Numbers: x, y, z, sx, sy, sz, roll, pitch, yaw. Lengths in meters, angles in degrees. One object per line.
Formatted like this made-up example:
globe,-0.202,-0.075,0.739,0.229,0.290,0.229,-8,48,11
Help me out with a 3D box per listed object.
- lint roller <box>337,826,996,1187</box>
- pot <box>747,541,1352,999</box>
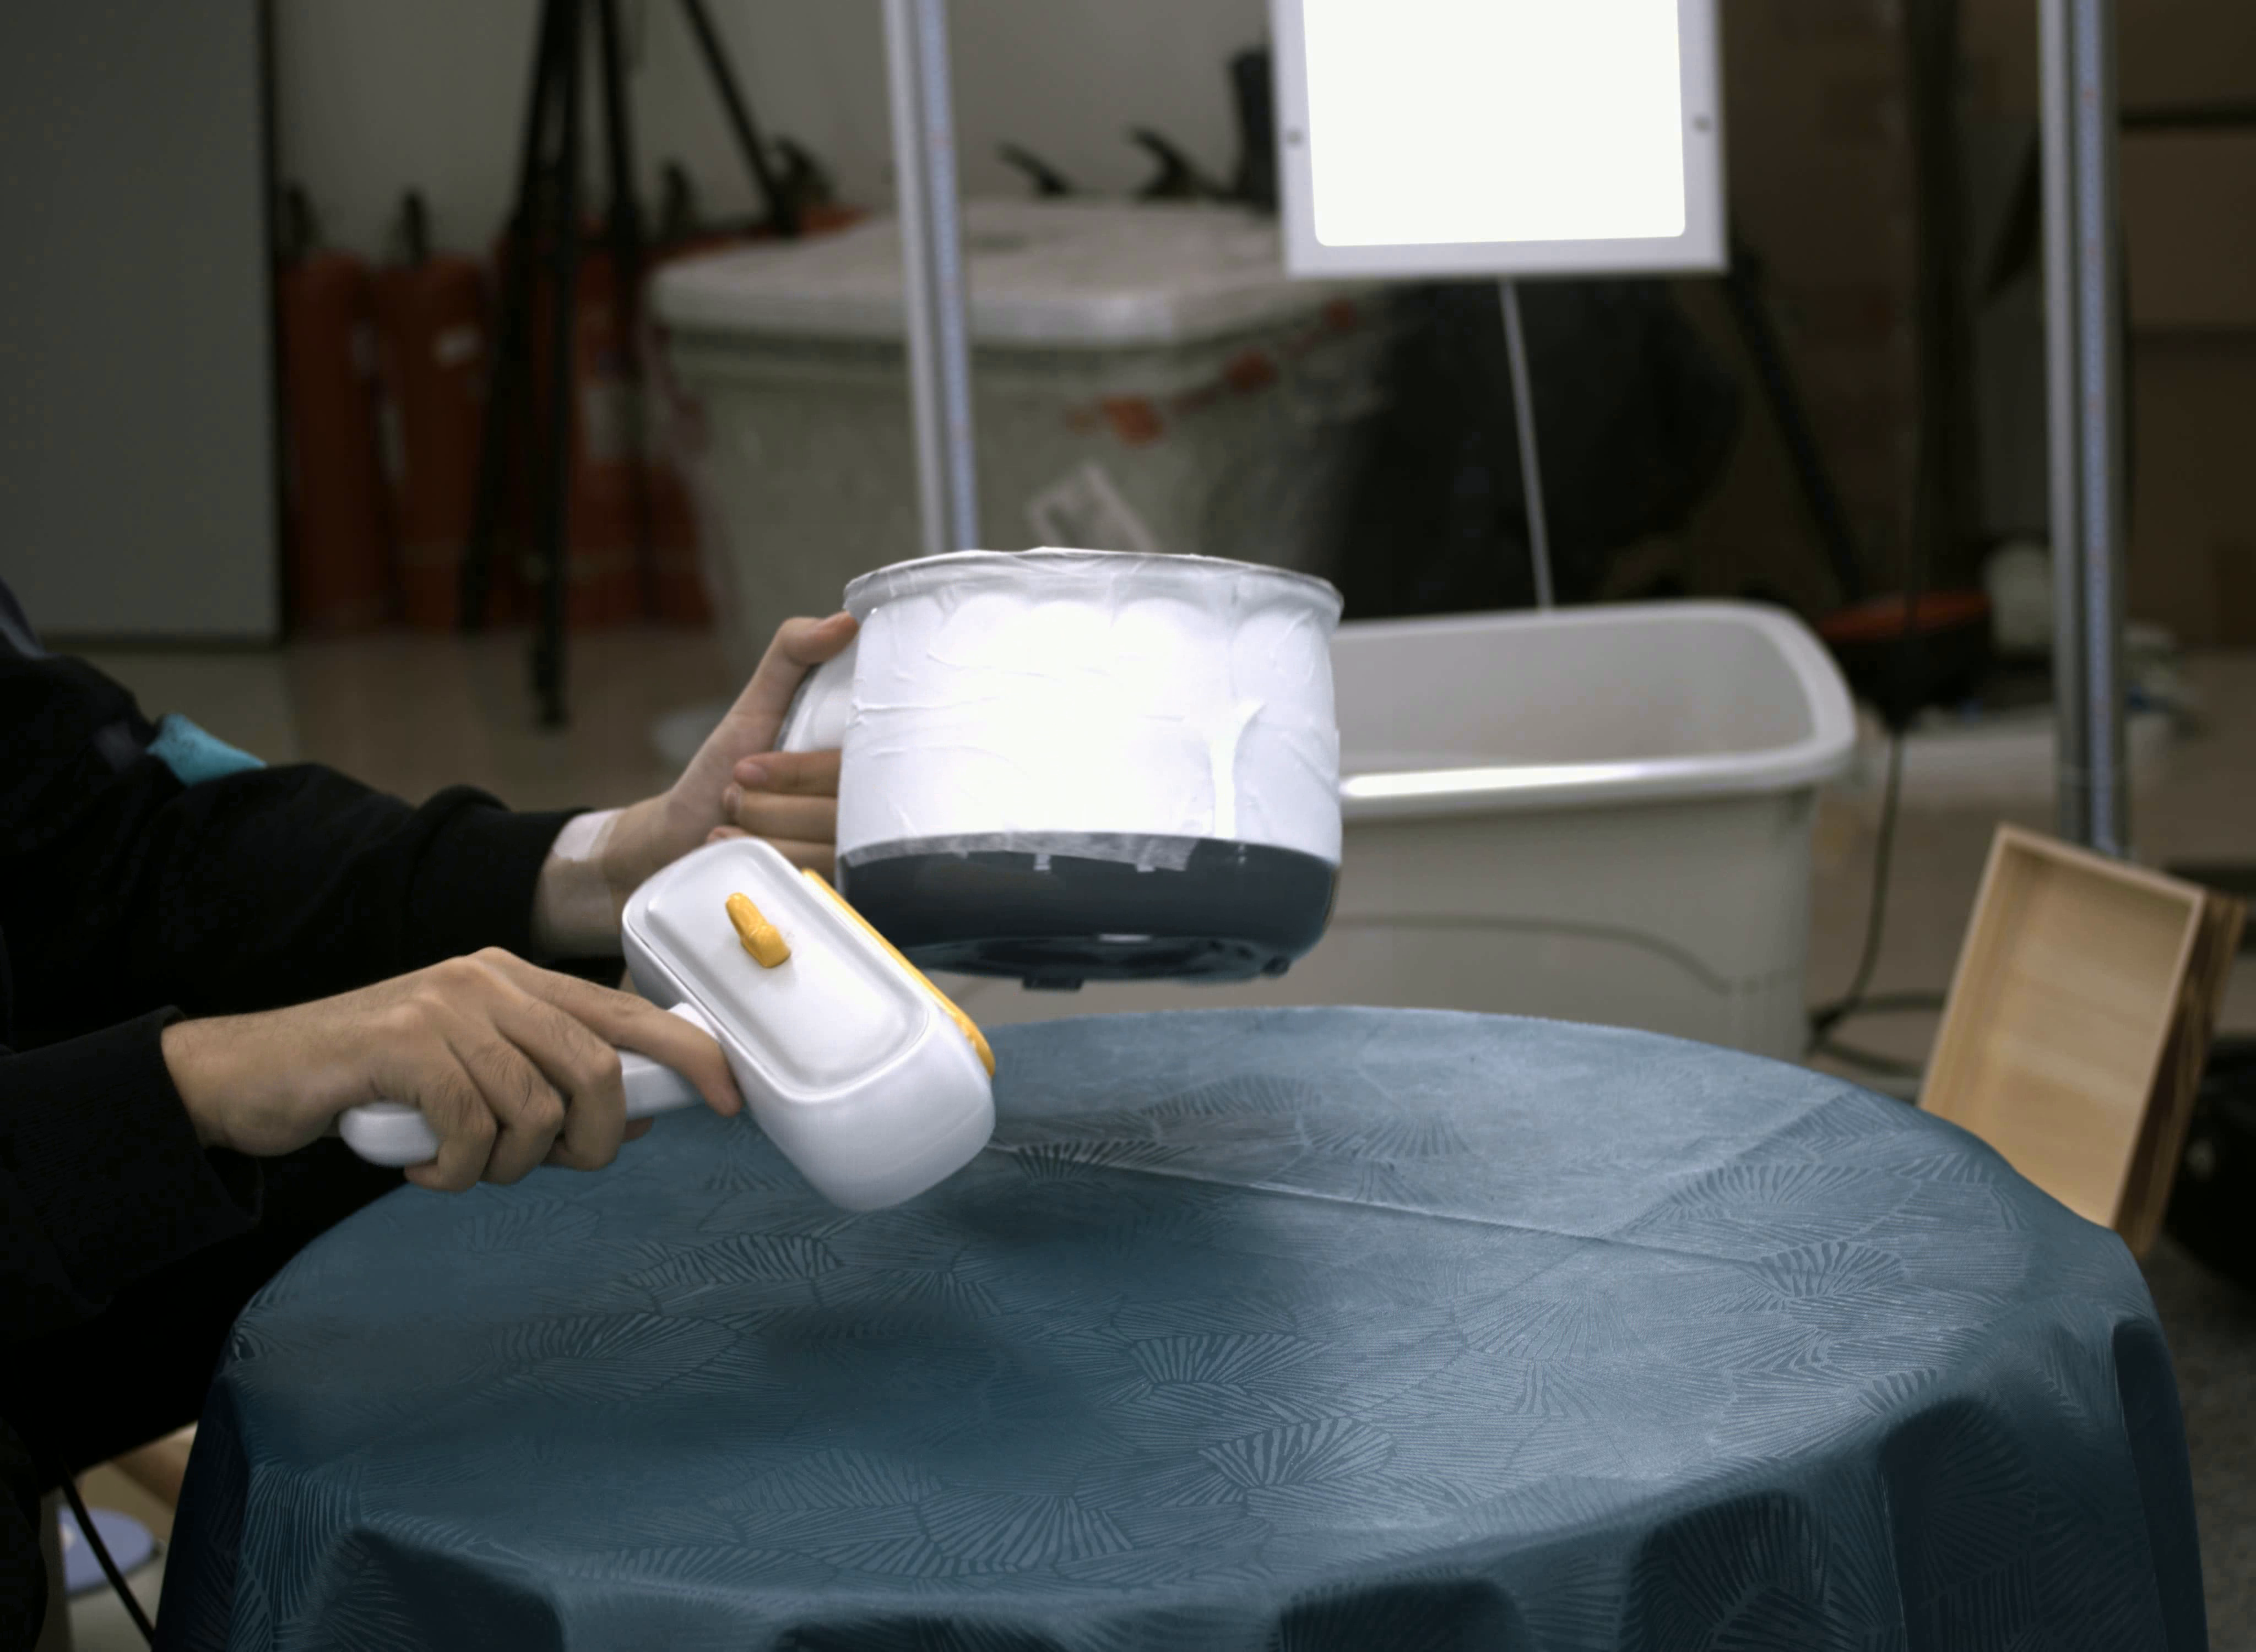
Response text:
lint roller,-0.158,0.074,1.753,0.189,0.074,0.196,-25,33,-20
pot,-0.037,-0.015,1.938,0.238,0.137,0.175,-3,-12,35
